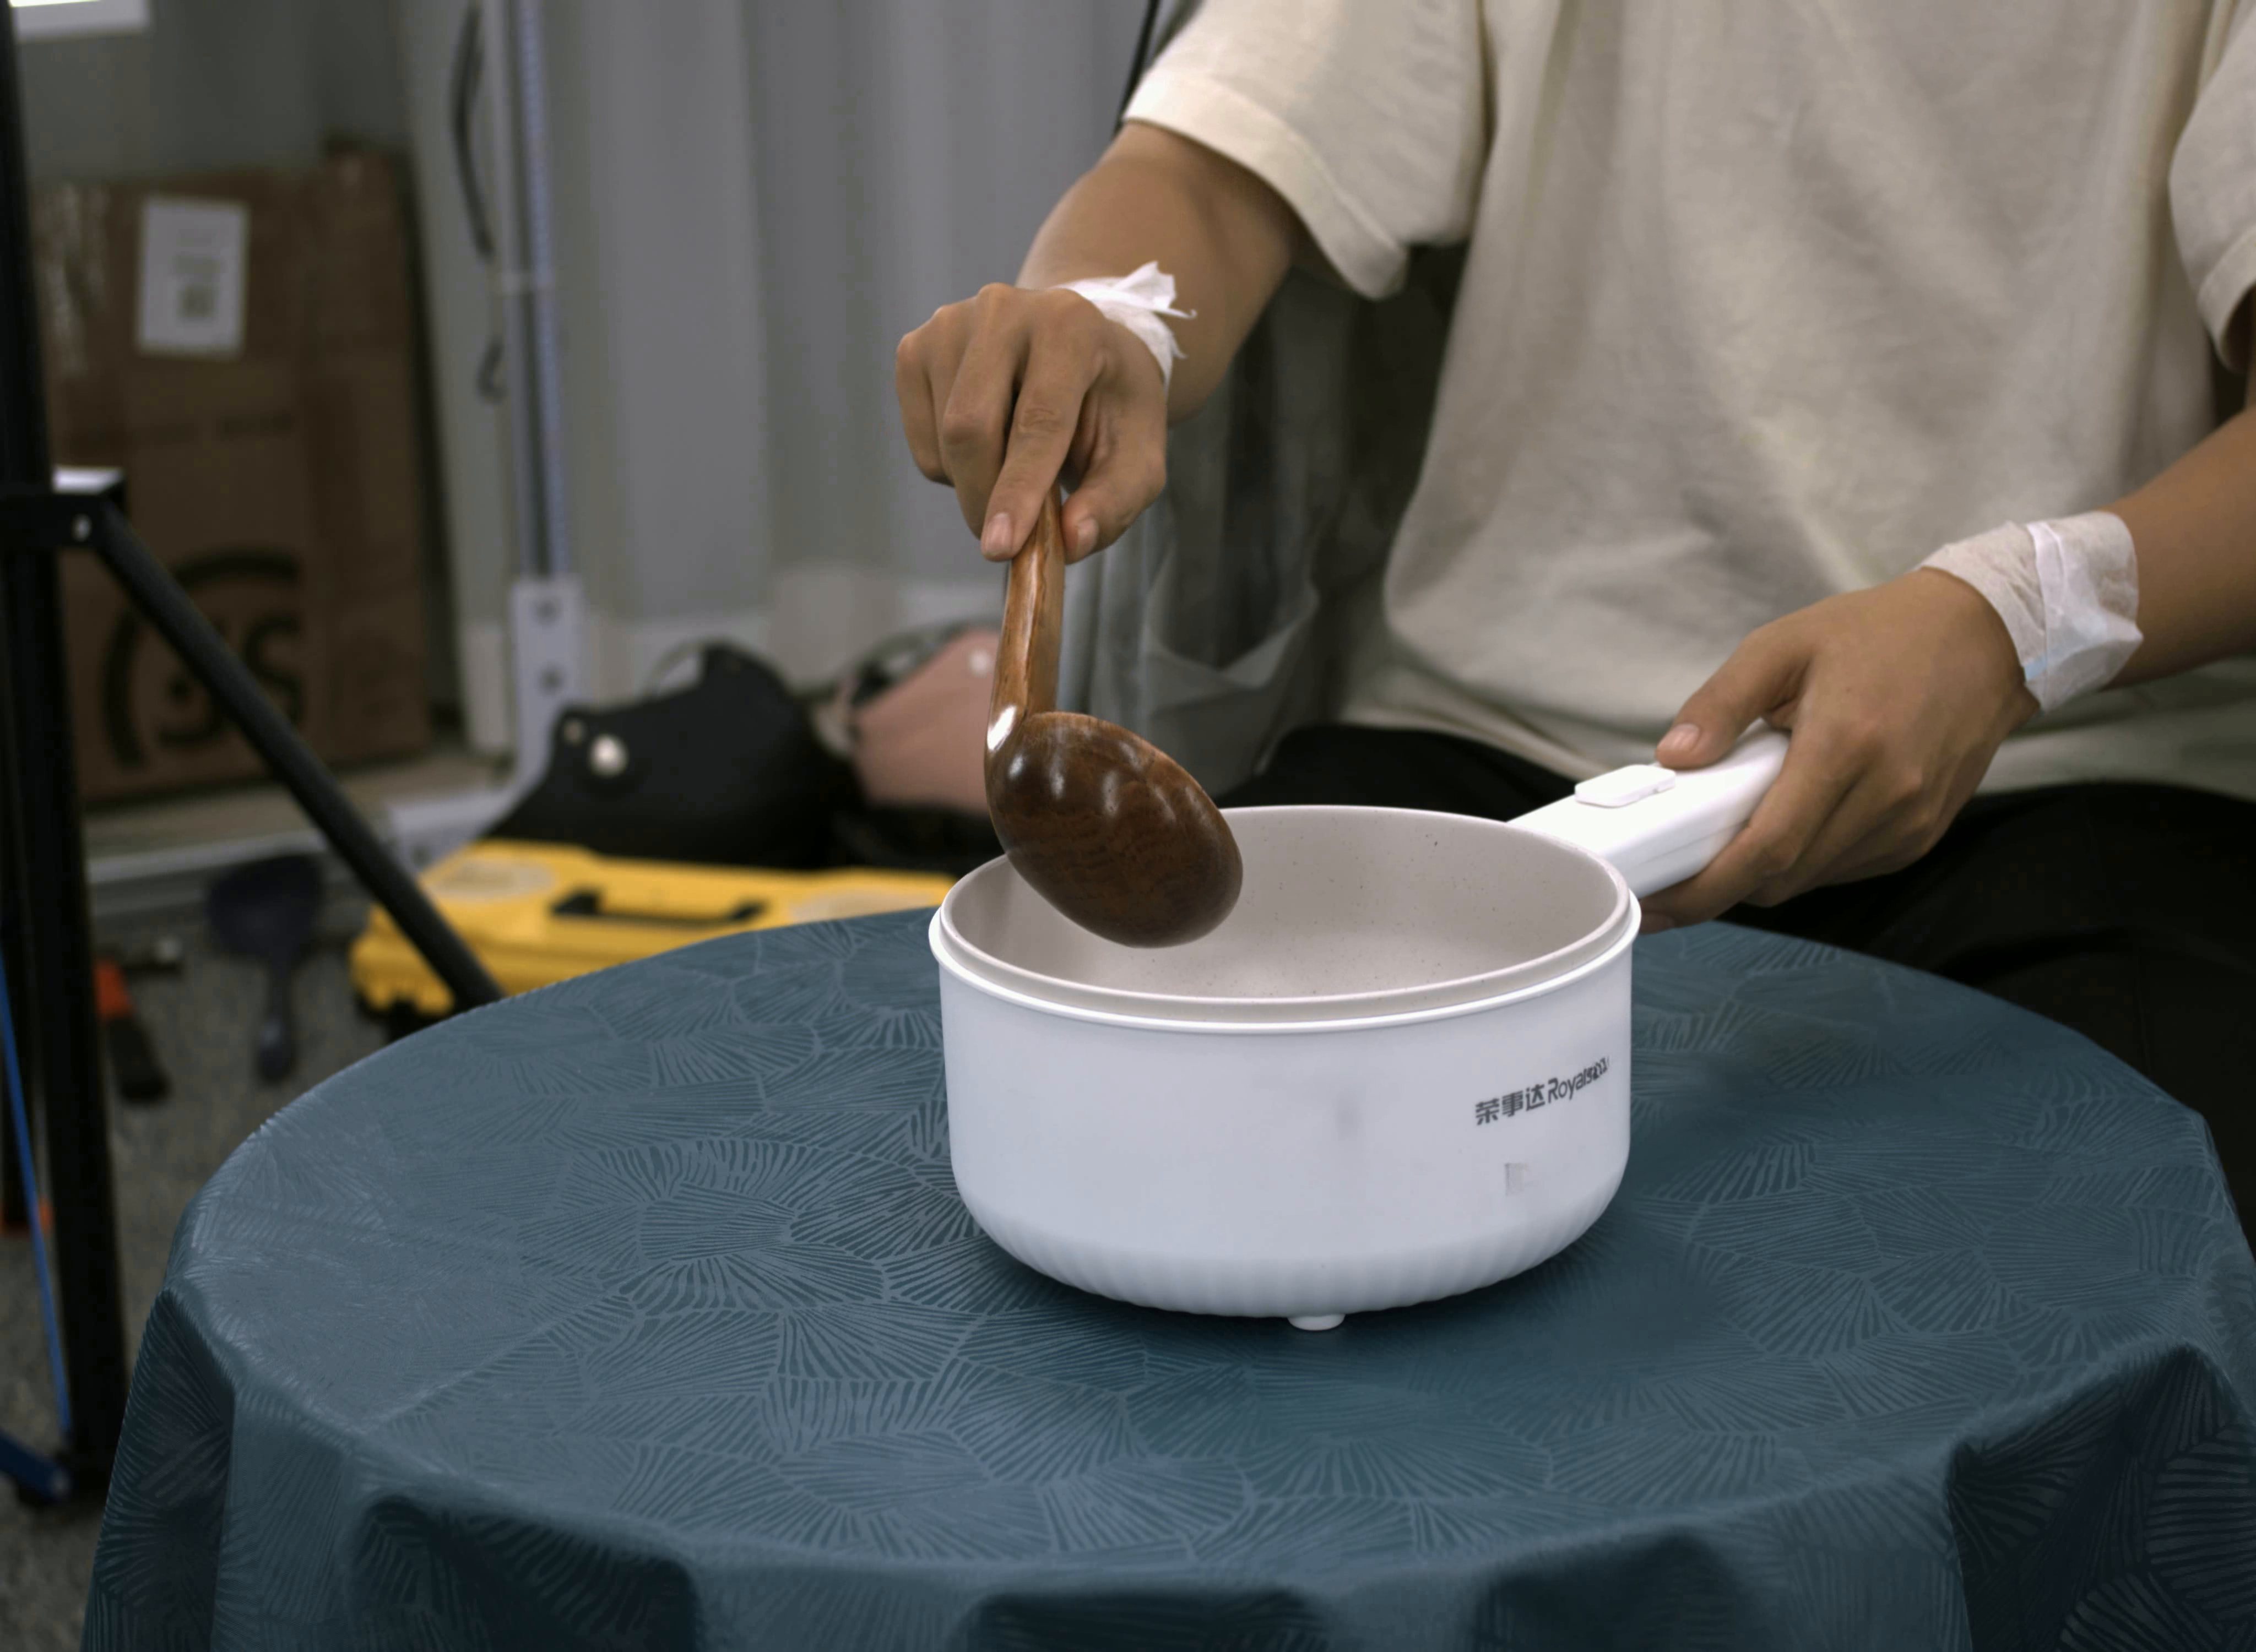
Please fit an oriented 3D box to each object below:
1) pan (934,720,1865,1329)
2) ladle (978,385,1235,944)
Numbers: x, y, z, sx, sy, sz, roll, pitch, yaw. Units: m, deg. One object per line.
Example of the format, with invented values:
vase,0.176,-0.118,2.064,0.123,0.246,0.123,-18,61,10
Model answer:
pan,0.098,0.052,1.557,0.206,0.102,0.347,11,20,42
ladle,-0.005,-0.063,1.583,0.077,0.081,0.276,-11,34,10
